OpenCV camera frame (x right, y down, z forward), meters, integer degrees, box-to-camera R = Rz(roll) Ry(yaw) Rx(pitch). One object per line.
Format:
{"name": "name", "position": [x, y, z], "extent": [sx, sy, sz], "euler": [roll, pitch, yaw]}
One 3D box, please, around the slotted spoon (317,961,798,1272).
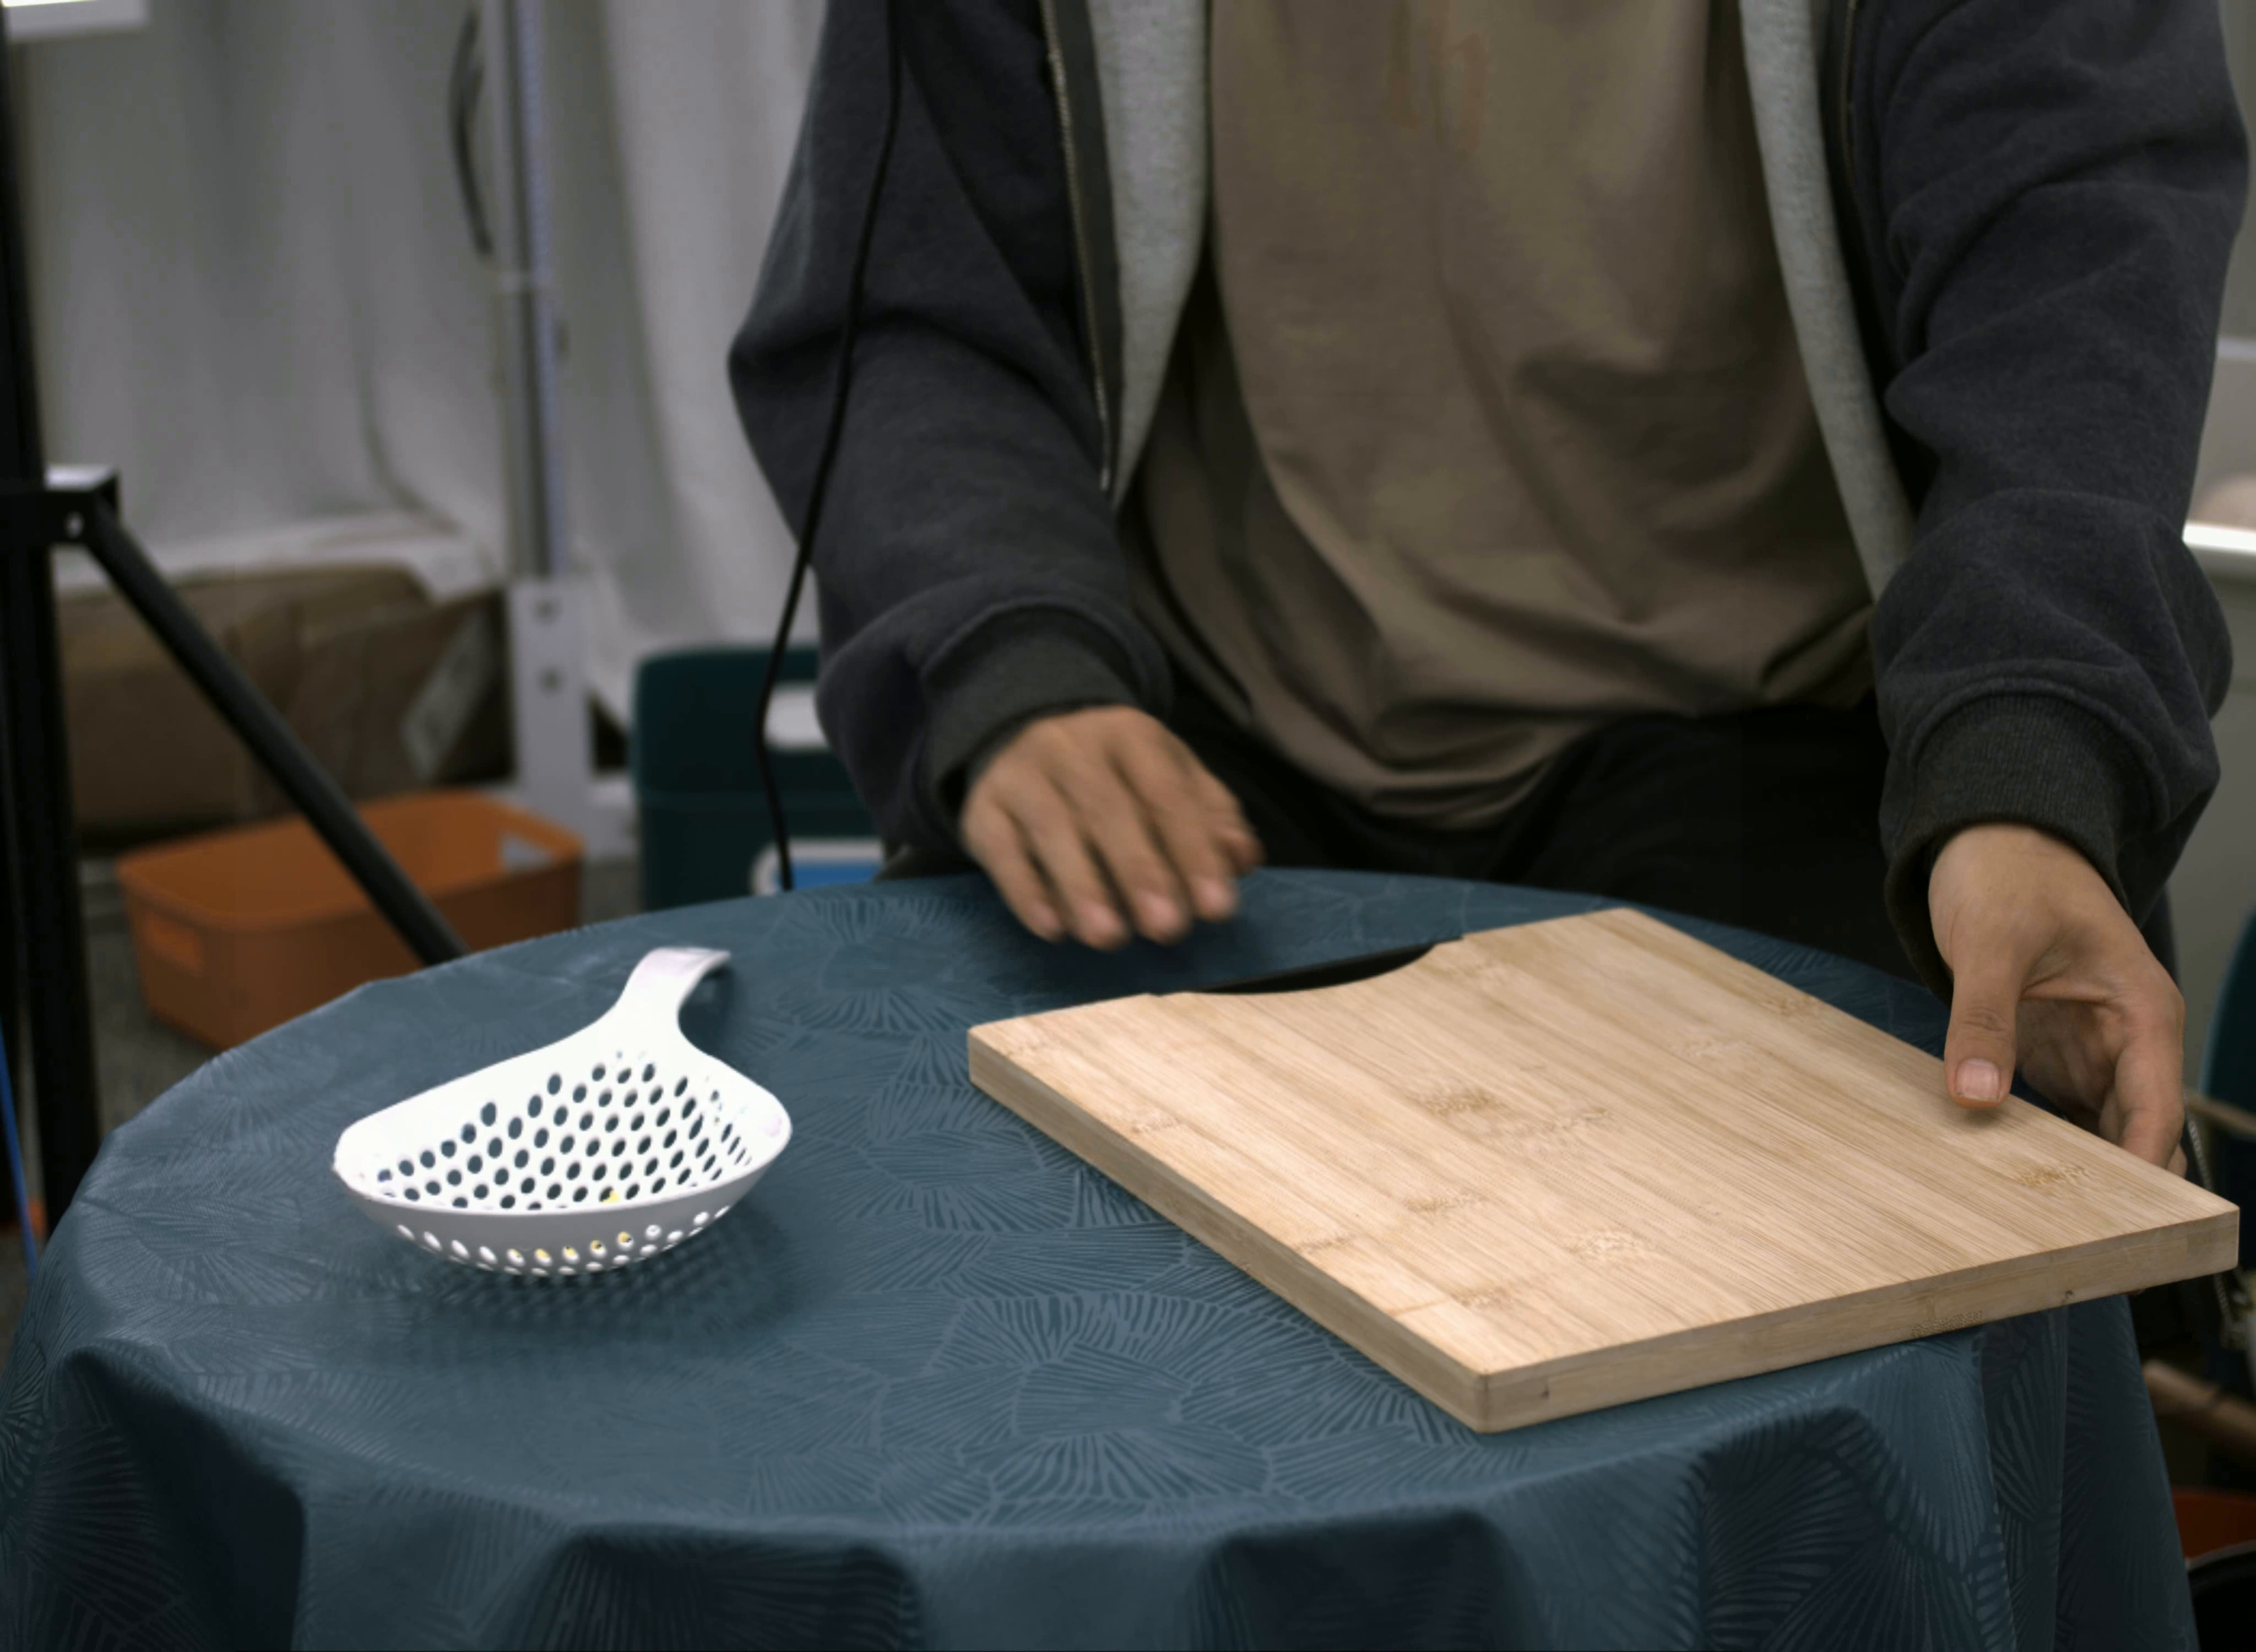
{"name": "slotted spoon", "position": [-0.154, 0.074, 1.628], "extent": [0.137, 0.050, 0.348], "euler": [-3, 16, 5]}

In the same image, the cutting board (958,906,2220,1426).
{"name": "cutting board", "position": [0.126, 0.093, 1.561], "extent": [0.246, 0.023, 0.355], "euler": [-9, 17, -23]}
